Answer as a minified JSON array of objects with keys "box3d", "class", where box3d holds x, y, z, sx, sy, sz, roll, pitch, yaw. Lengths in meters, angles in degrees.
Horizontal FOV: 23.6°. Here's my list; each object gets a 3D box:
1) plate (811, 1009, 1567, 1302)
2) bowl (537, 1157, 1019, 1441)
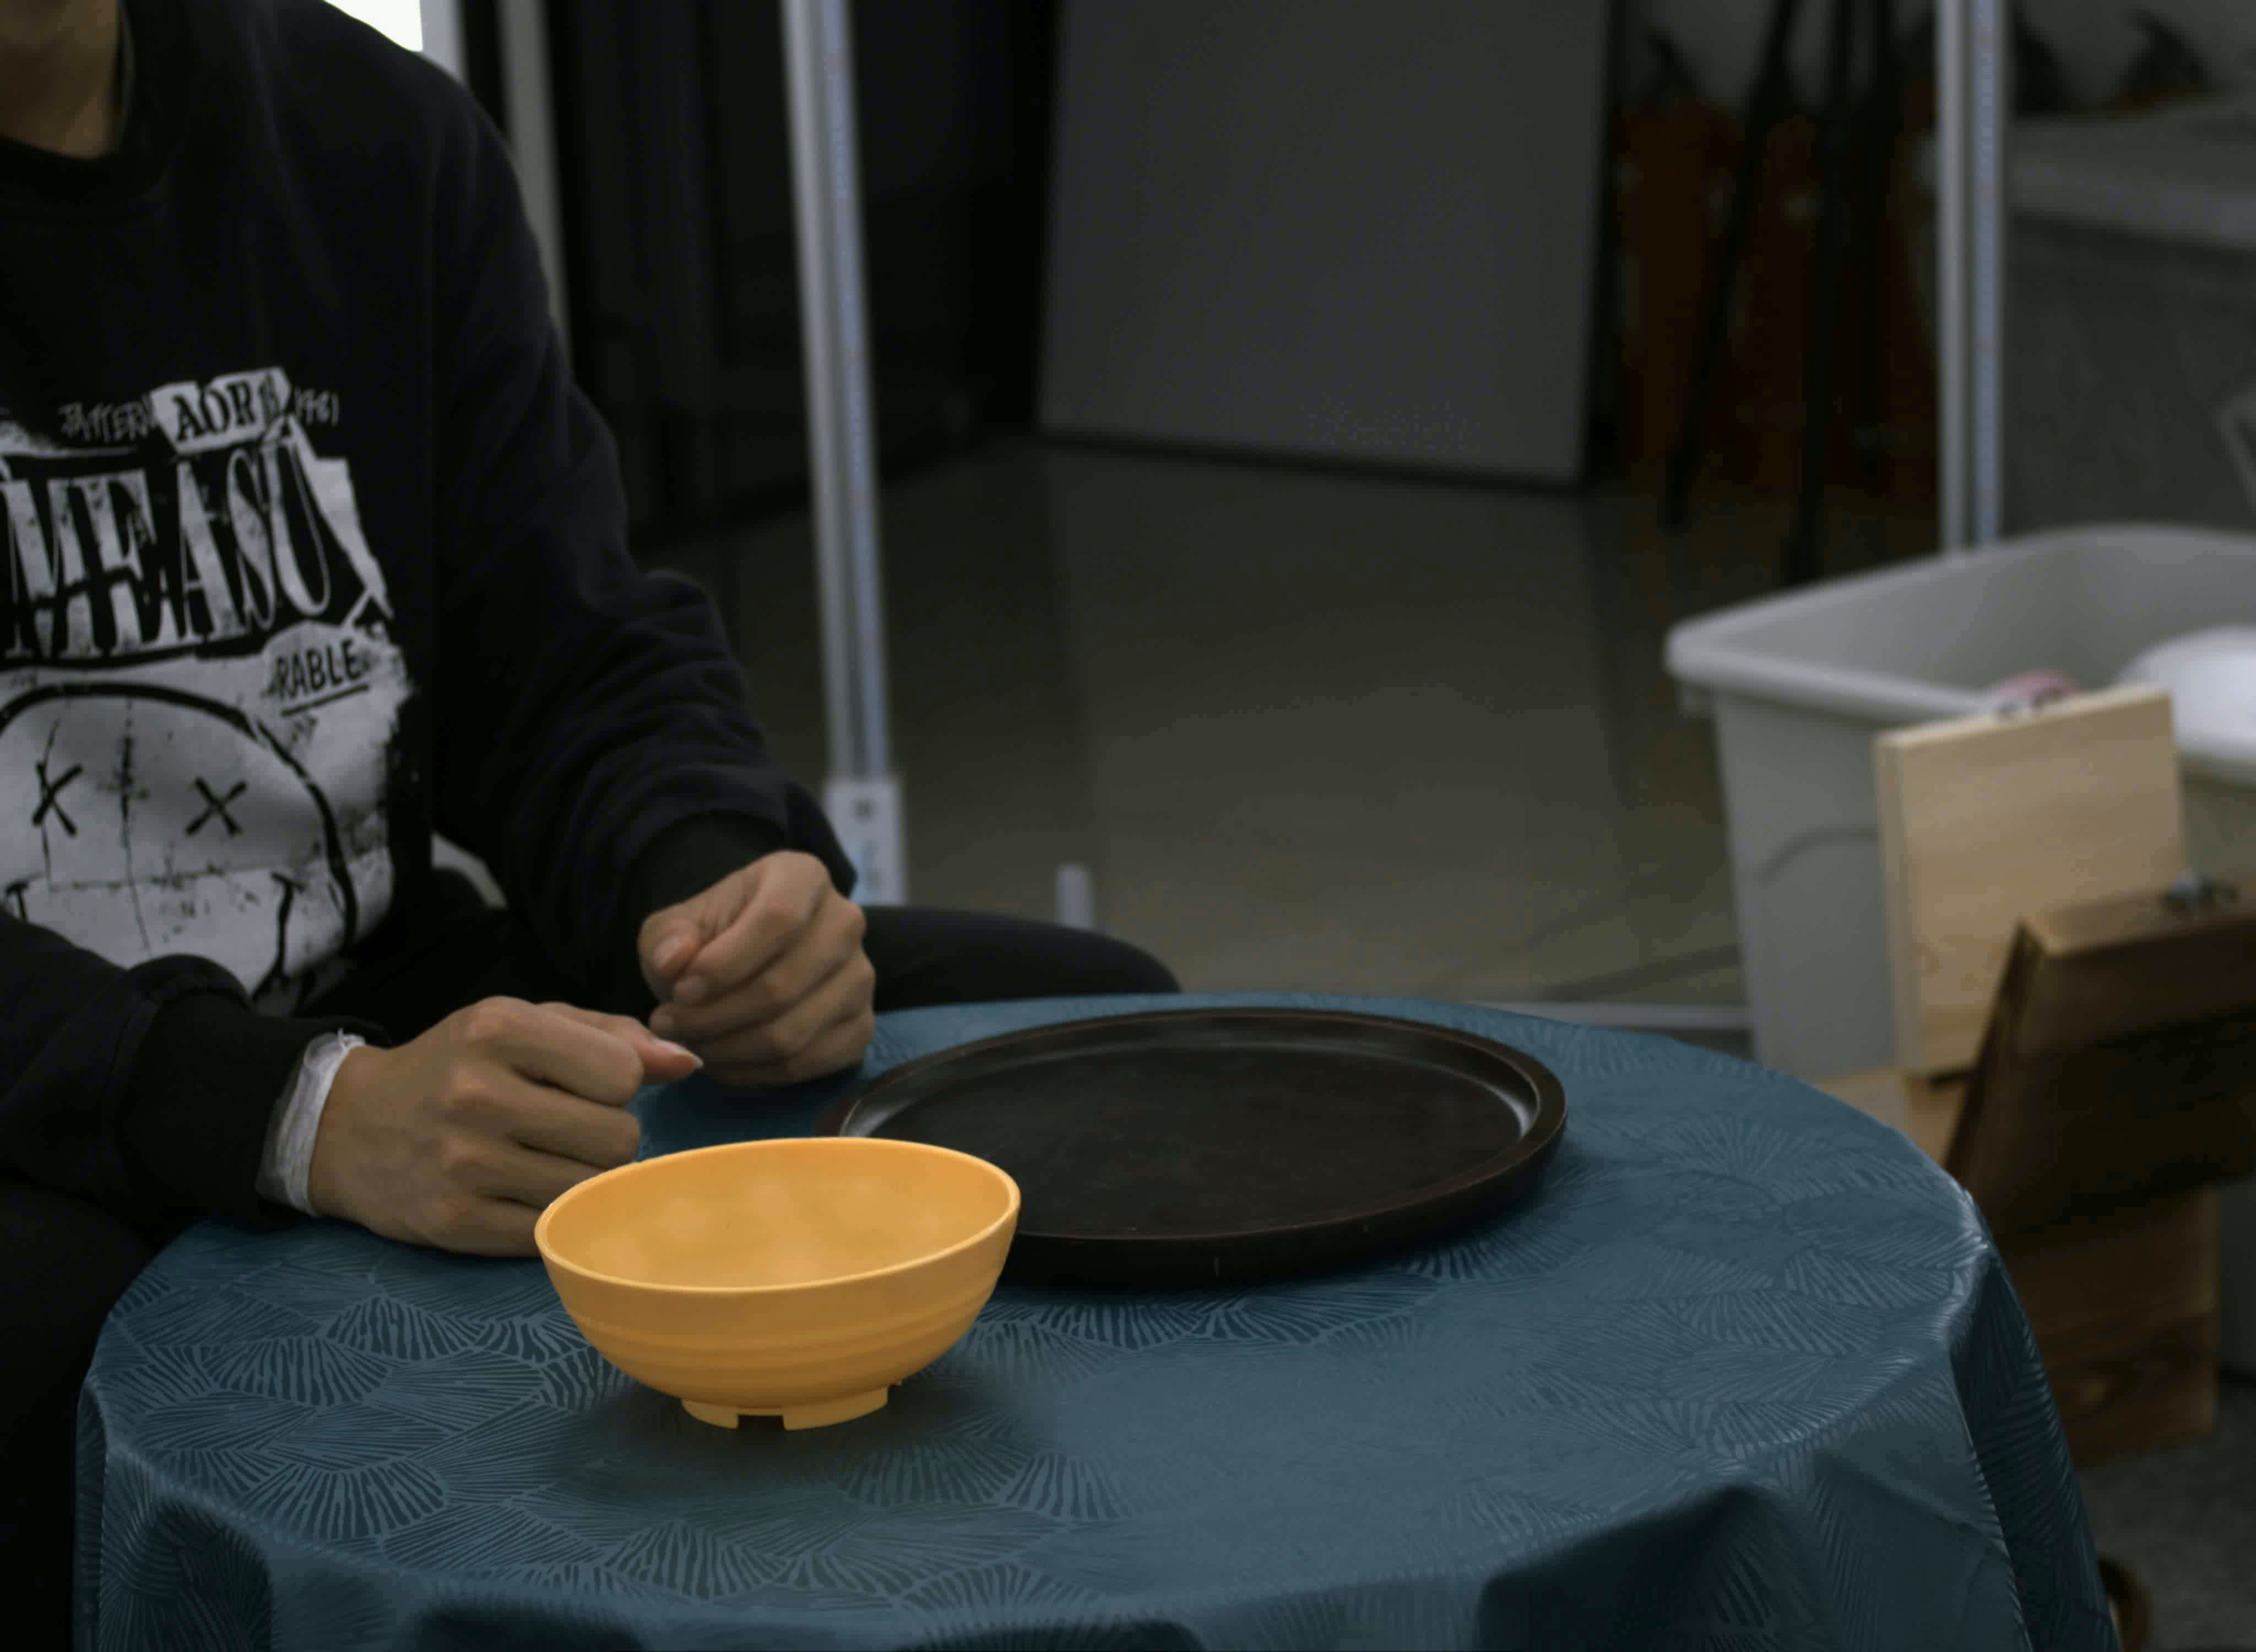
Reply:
[{"box3d":[0.021,0.106,1.779,0.251,0.029,0.255,-6,14,1],"class":"plate"},{"box3d":[-0.101,0.143,1.595,0.143,0.061,0.145,-5,11,0],"class":"bowl"}]
